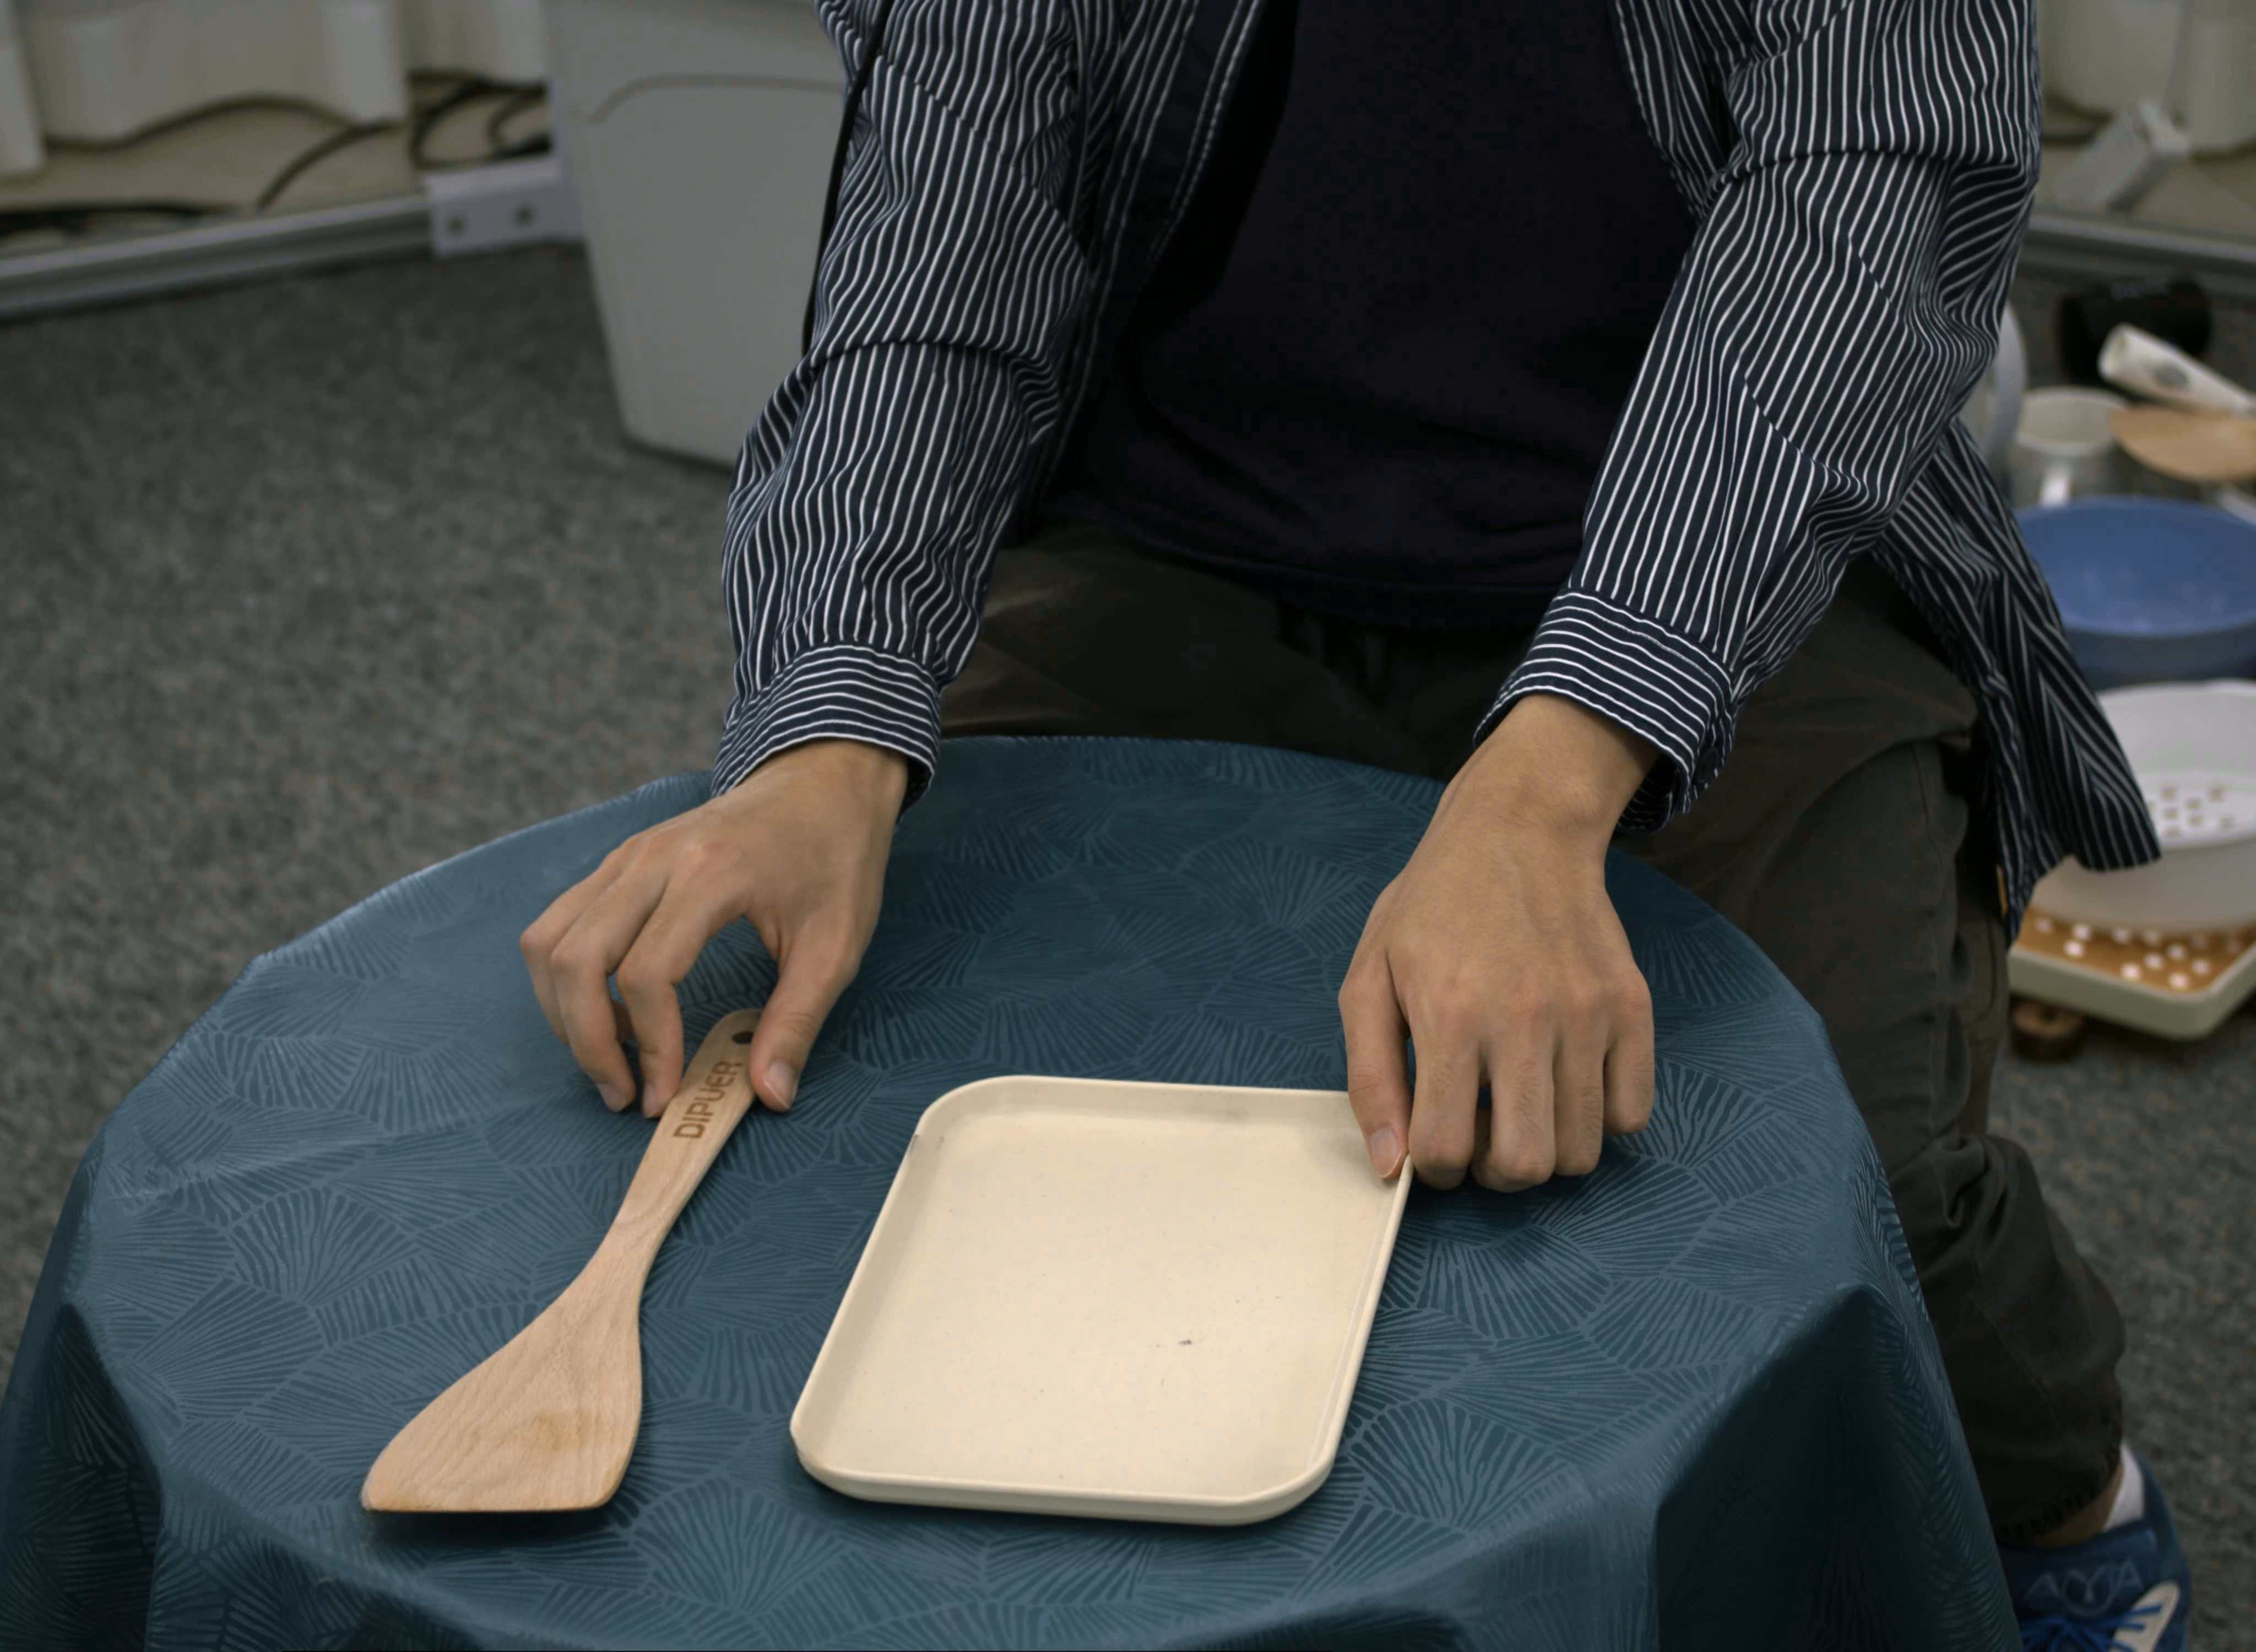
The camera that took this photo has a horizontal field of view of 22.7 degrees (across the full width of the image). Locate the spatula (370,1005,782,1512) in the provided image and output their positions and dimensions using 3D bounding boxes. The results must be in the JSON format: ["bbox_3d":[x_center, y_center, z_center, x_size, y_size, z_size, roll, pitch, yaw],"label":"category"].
[{"bbox_3d":[-0.161,0.137,1.825,0.079,0.016,0.333,2,28,11],"label":"spatula"}]

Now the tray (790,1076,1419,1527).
[{"bbox_3d":[-0.004,0.150,1.783,0.170,0.017,0.244,3,28,11],"label":"tray"}]
